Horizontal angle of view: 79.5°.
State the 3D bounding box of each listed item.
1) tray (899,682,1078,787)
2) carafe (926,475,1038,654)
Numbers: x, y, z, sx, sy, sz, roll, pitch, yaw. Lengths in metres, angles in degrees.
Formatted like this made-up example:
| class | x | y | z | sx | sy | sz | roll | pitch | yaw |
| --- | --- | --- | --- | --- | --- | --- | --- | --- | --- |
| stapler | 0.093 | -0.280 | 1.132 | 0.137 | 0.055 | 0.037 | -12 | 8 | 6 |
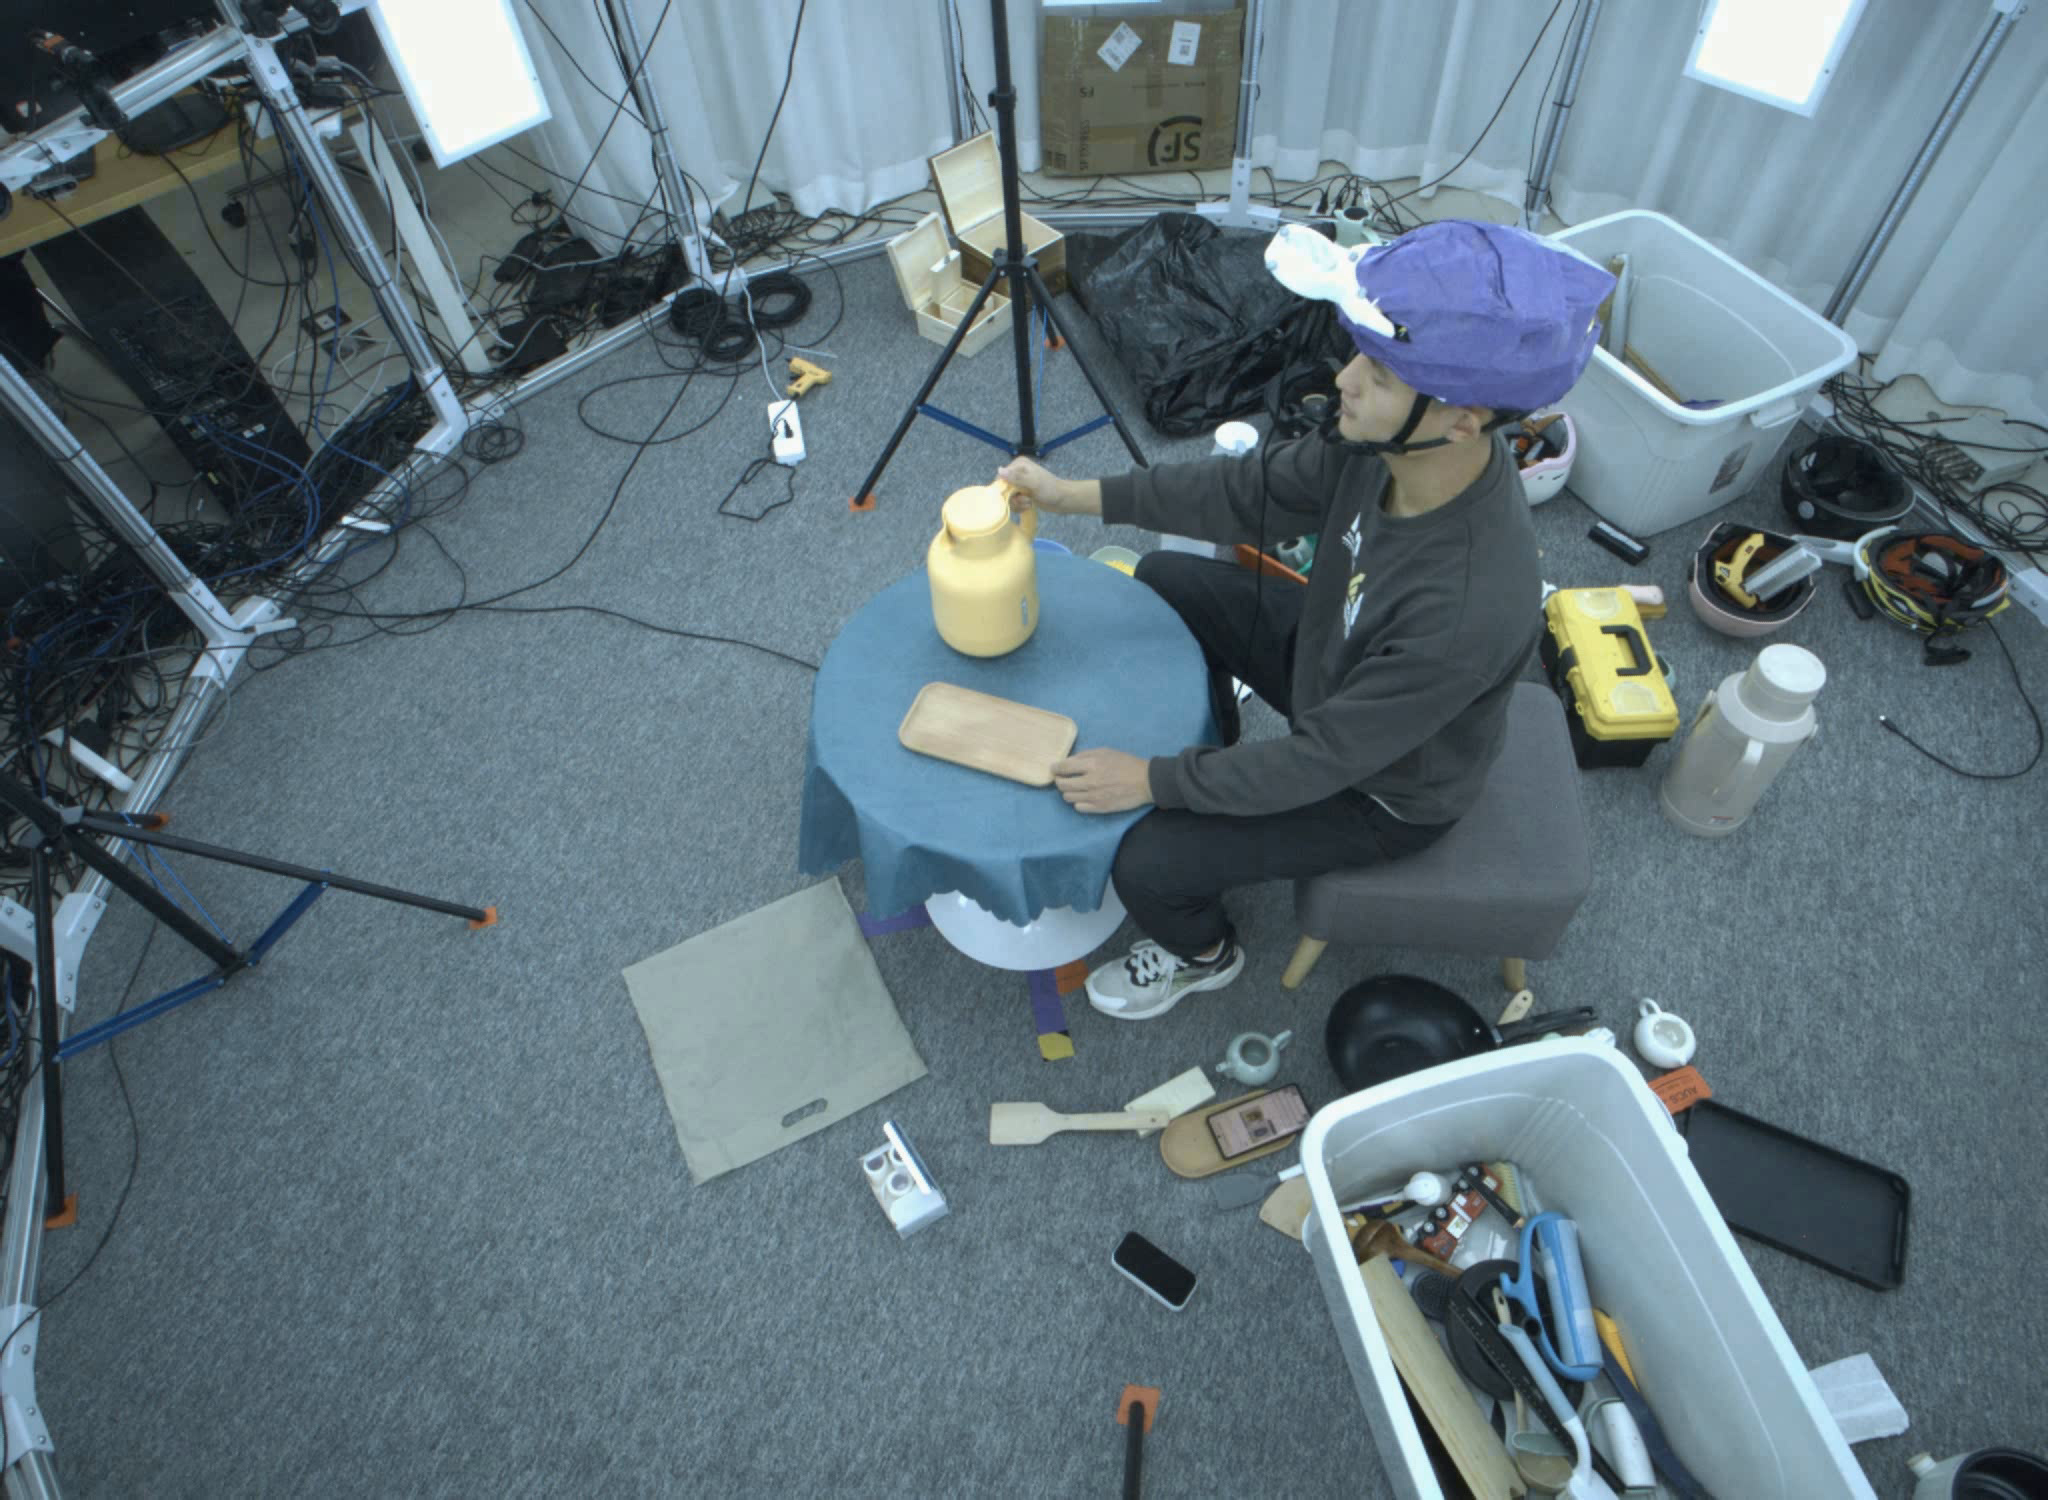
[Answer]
| class | x | y | z | sx | sy | sz | roll | pitch | yaw |
| --- | --- | --- | --- | --- | --- | --- | --- | --- | --- |
| tray | -0.052 | -0.023 | 1.793 | 0.248 | 0.023 | 0.130 | 17 | 59 | 13 |
| carafe | -0.051 | -0.284 | 1.827 | 0.161 | 0.263 | 0.203 | 34 | 64 | 21 |
